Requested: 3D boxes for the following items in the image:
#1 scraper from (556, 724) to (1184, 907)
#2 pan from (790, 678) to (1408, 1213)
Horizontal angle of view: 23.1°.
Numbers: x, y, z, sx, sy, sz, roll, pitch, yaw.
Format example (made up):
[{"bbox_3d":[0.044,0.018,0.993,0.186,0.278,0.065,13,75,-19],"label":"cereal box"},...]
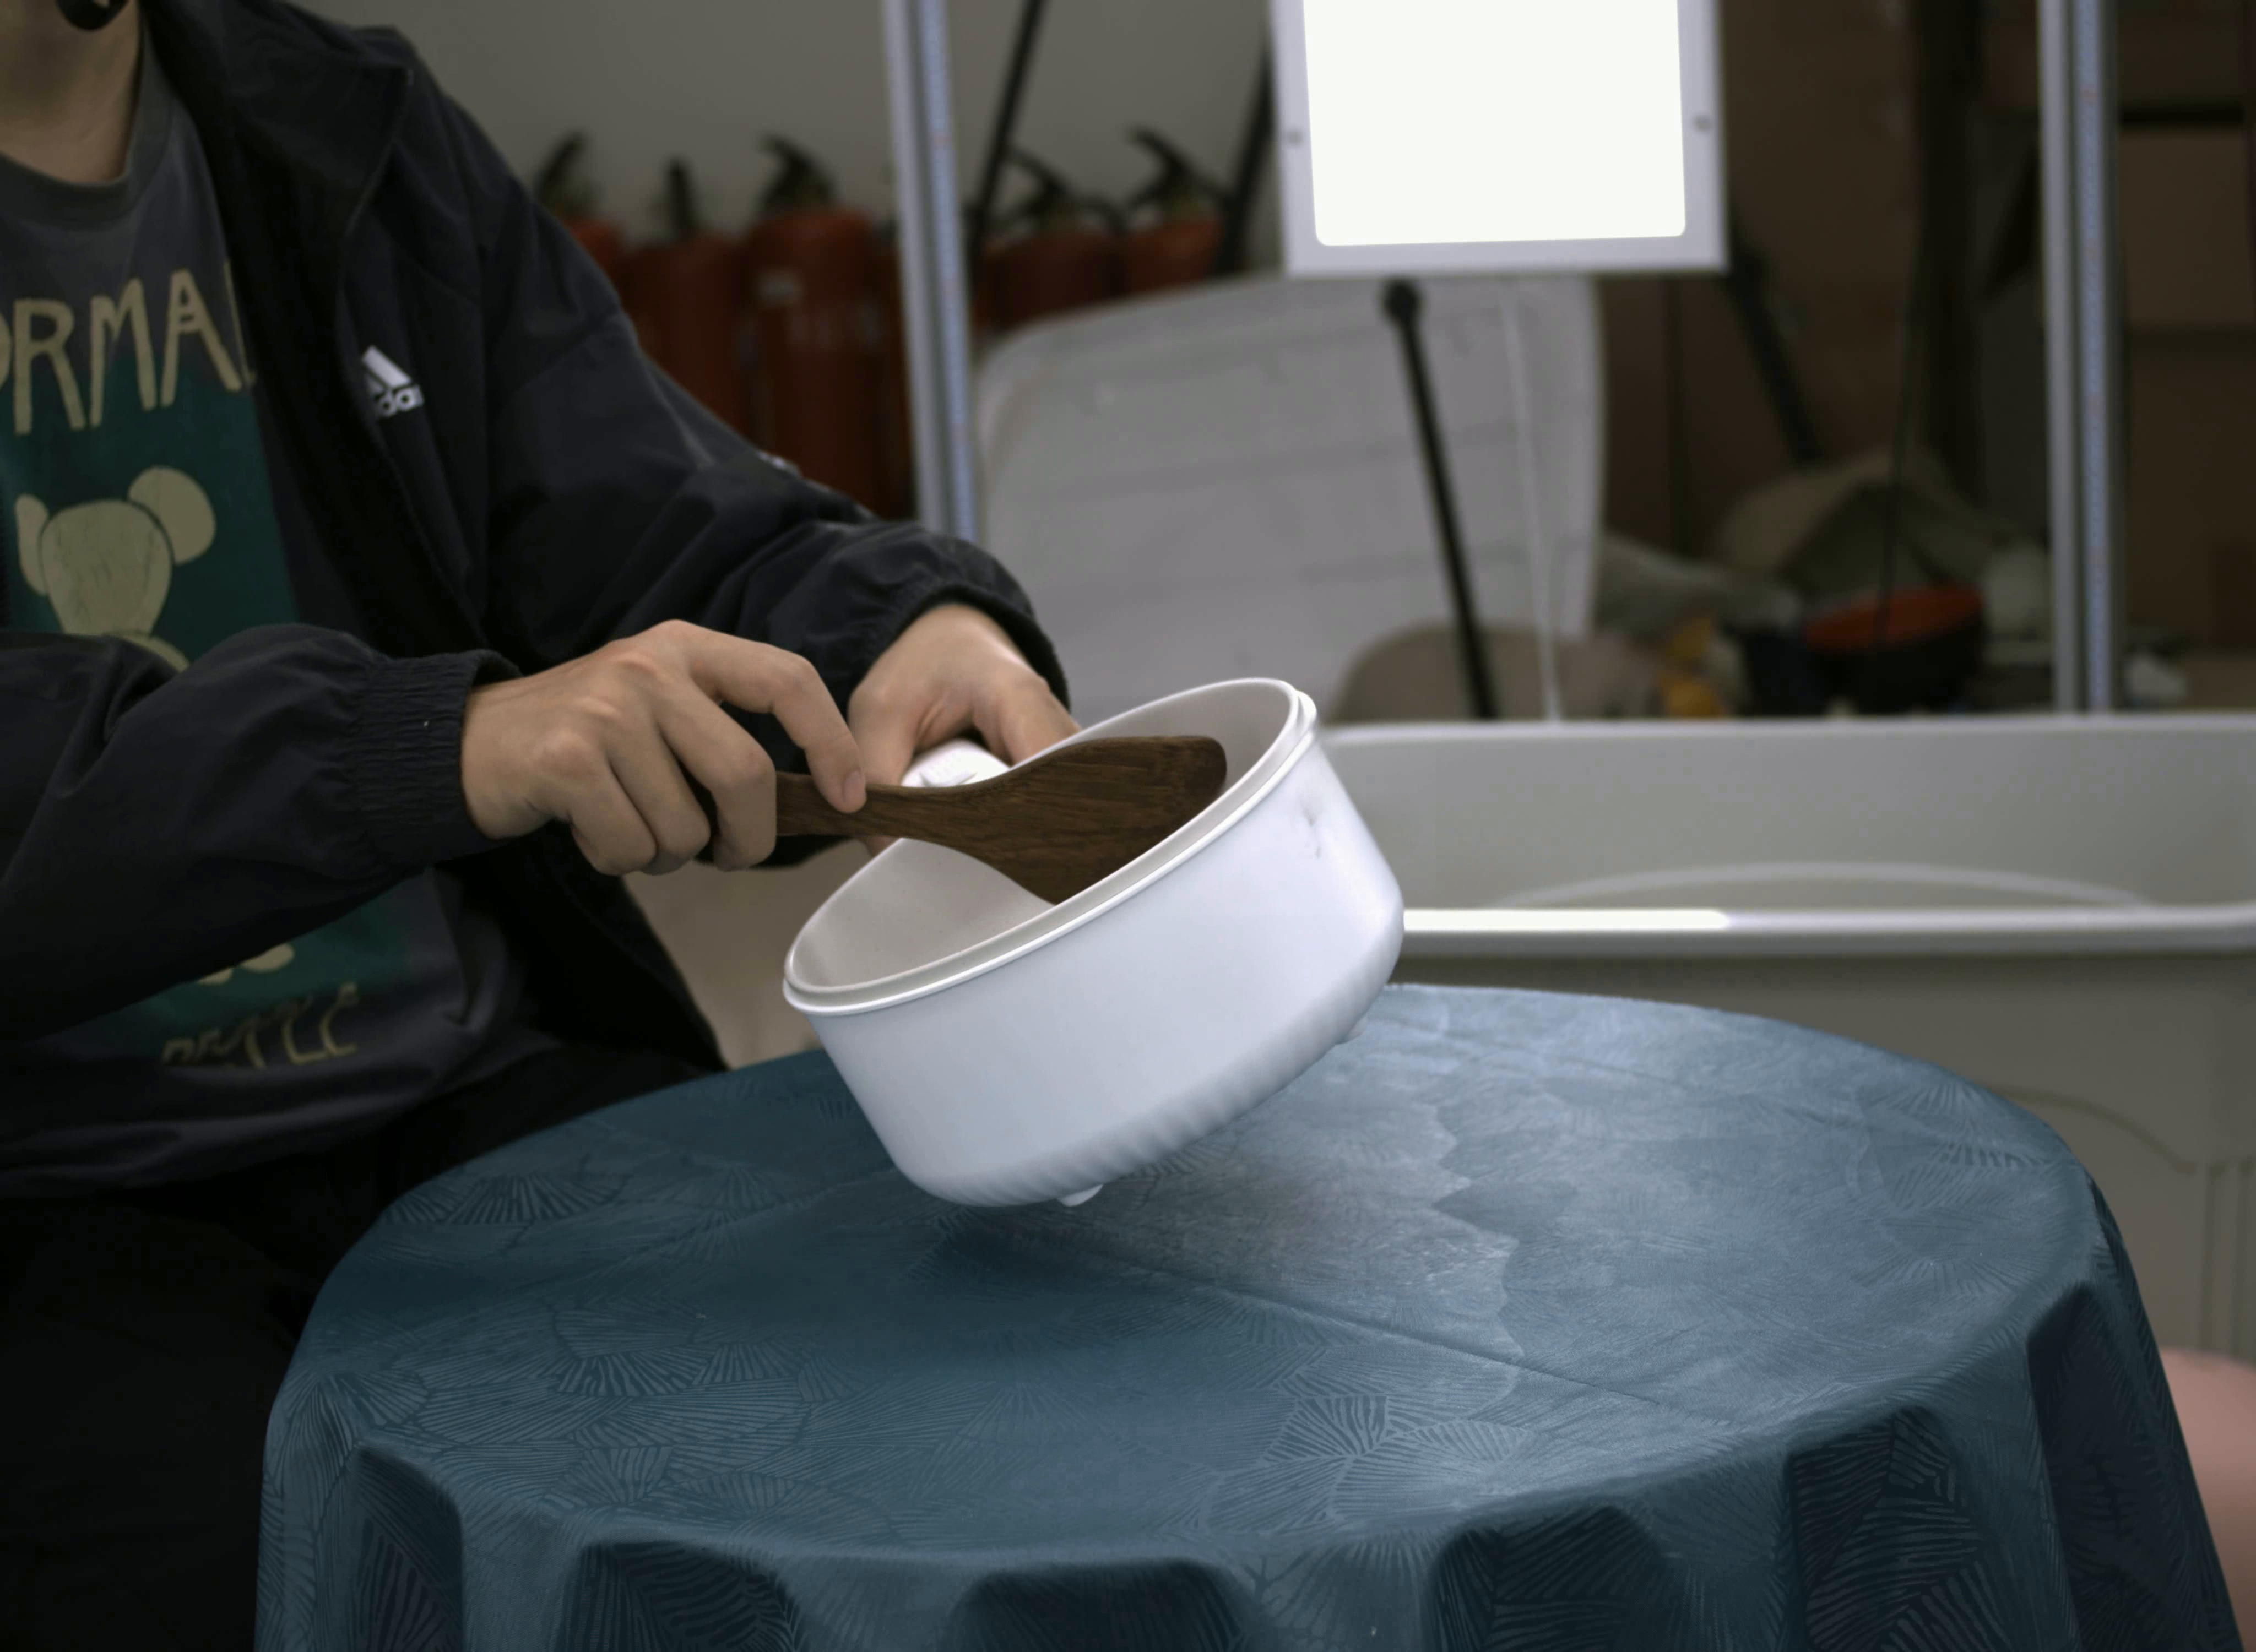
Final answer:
[{"bbox_3d":[-0.086,-0.006,1.835,0.211,0.076,0.011,4,36,5],"label":"scraper"},{"bbox_3d":[-0.021,0.035,1.915,0.200,0.102,0.357,-33,13,-6],"label":"pan"}]
